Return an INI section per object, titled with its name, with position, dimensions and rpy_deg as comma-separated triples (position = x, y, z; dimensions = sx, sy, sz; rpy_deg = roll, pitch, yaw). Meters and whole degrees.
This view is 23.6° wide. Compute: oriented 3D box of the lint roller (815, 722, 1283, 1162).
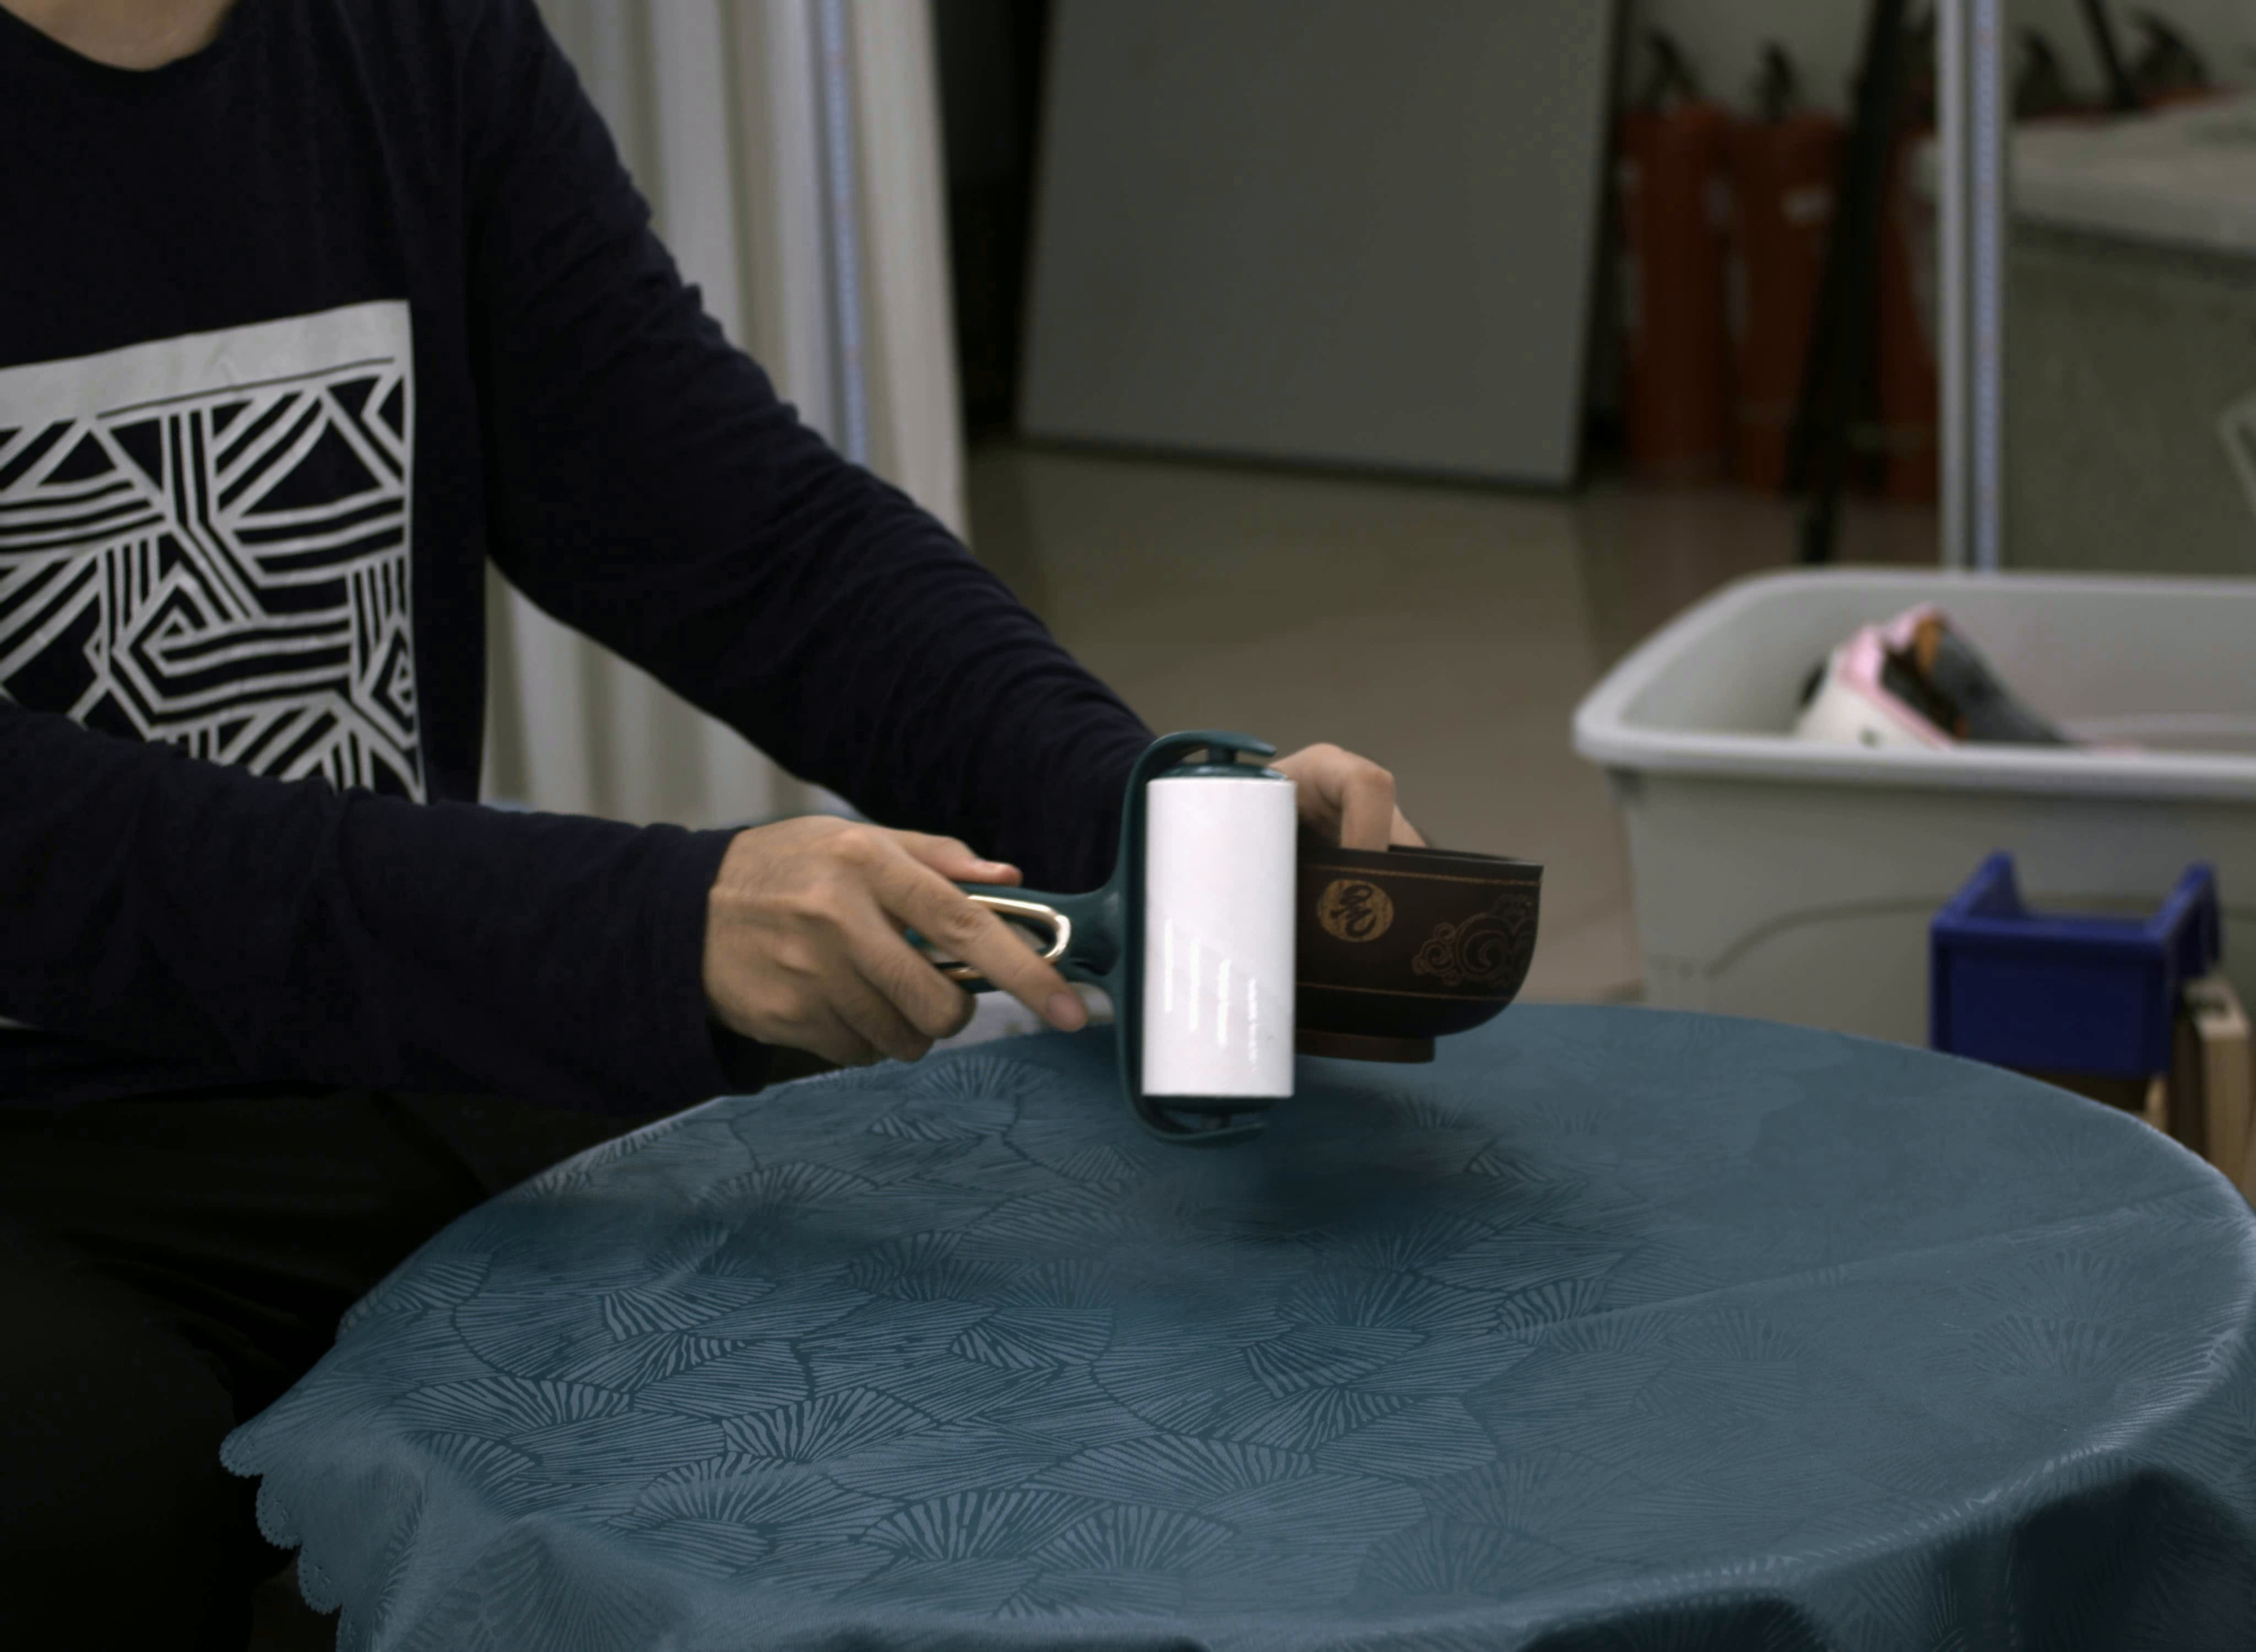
[lint roller]
position = -0.033, 0.038, 1.716
dimensions = 0.180, 0.136, 0.047
rpy_deg = -1, -3, 29

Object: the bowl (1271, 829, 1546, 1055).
[bowl]
position = 0.076, 0.038, 1.745
dimensions = 0.116, 0.071, 0.118
rpy_deg = 3, 0, -1
